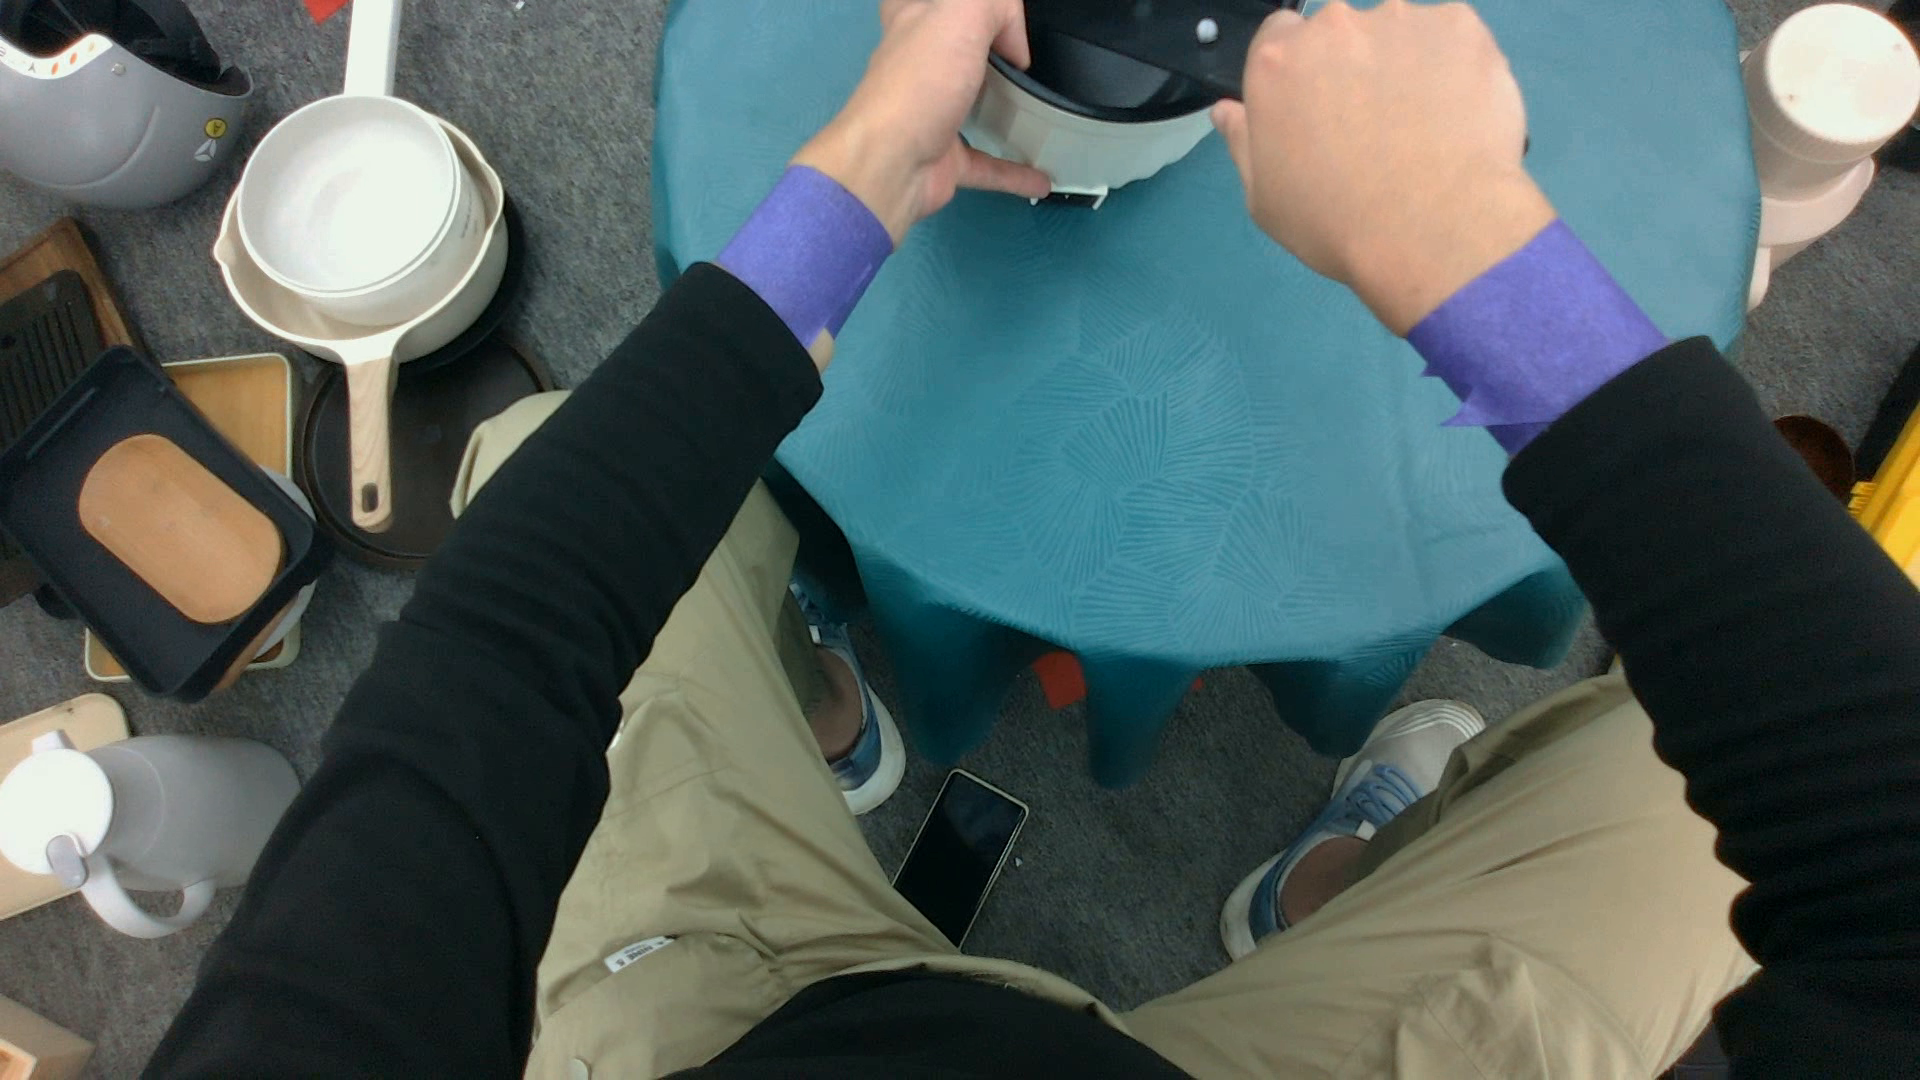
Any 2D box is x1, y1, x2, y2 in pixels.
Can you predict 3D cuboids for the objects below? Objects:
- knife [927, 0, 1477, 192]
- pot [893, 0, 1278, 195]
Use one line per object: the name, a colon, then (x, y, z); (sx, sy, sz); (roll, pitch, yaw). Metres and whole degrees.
knife: (0.091, -0.205, 0.579); (0.081, 0.021, 0.302); (-29, 43, -17)
pot: (0.054, -0.284, 0.695); (0.240, 0.142, 0.190); (1, 88, -9)
